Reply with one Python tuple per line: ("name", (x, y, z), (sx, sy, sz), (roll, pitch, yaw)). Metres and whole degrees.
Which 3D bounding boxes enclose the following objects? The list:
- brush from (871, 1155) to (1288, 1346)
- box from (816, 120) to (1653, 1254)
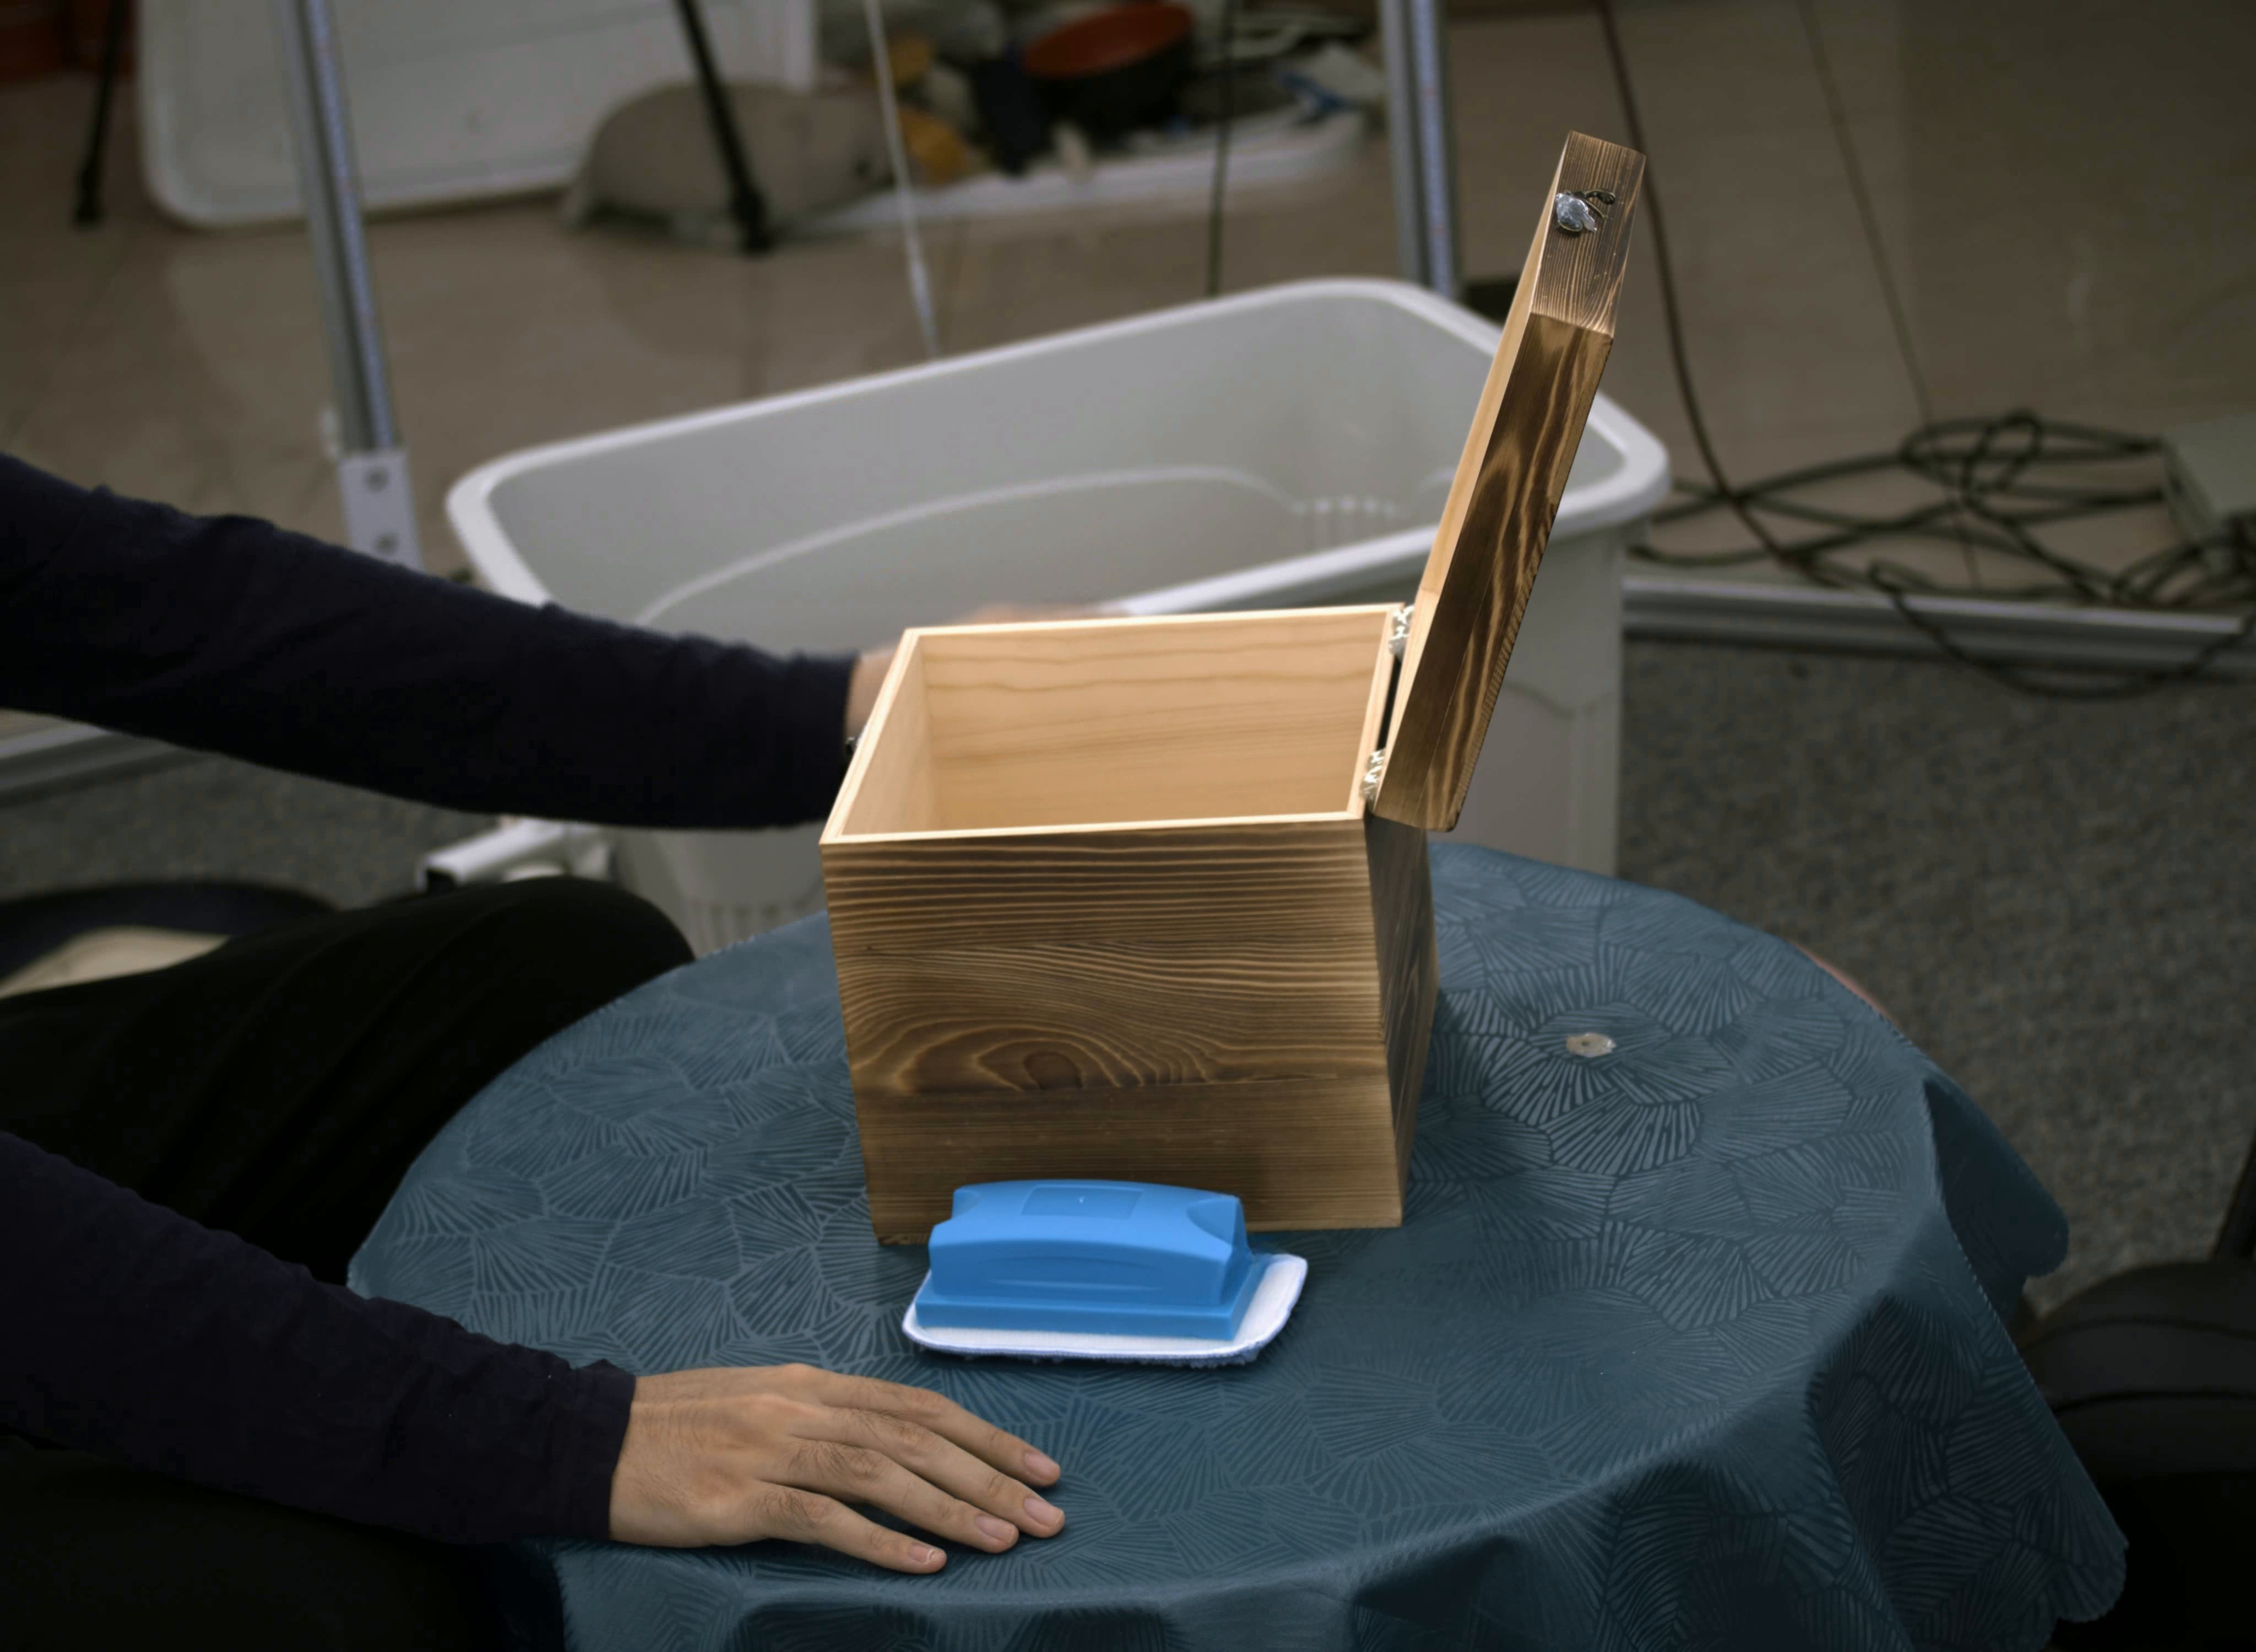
("brush", (-0.018, 0.152, 2.052), (0.143, 0.057, 0.083), (4, 24, 18))
("box", (0.047, -0.055, 2.119), (0.321, 0.381, 0.205), (-2, 26, 8))
